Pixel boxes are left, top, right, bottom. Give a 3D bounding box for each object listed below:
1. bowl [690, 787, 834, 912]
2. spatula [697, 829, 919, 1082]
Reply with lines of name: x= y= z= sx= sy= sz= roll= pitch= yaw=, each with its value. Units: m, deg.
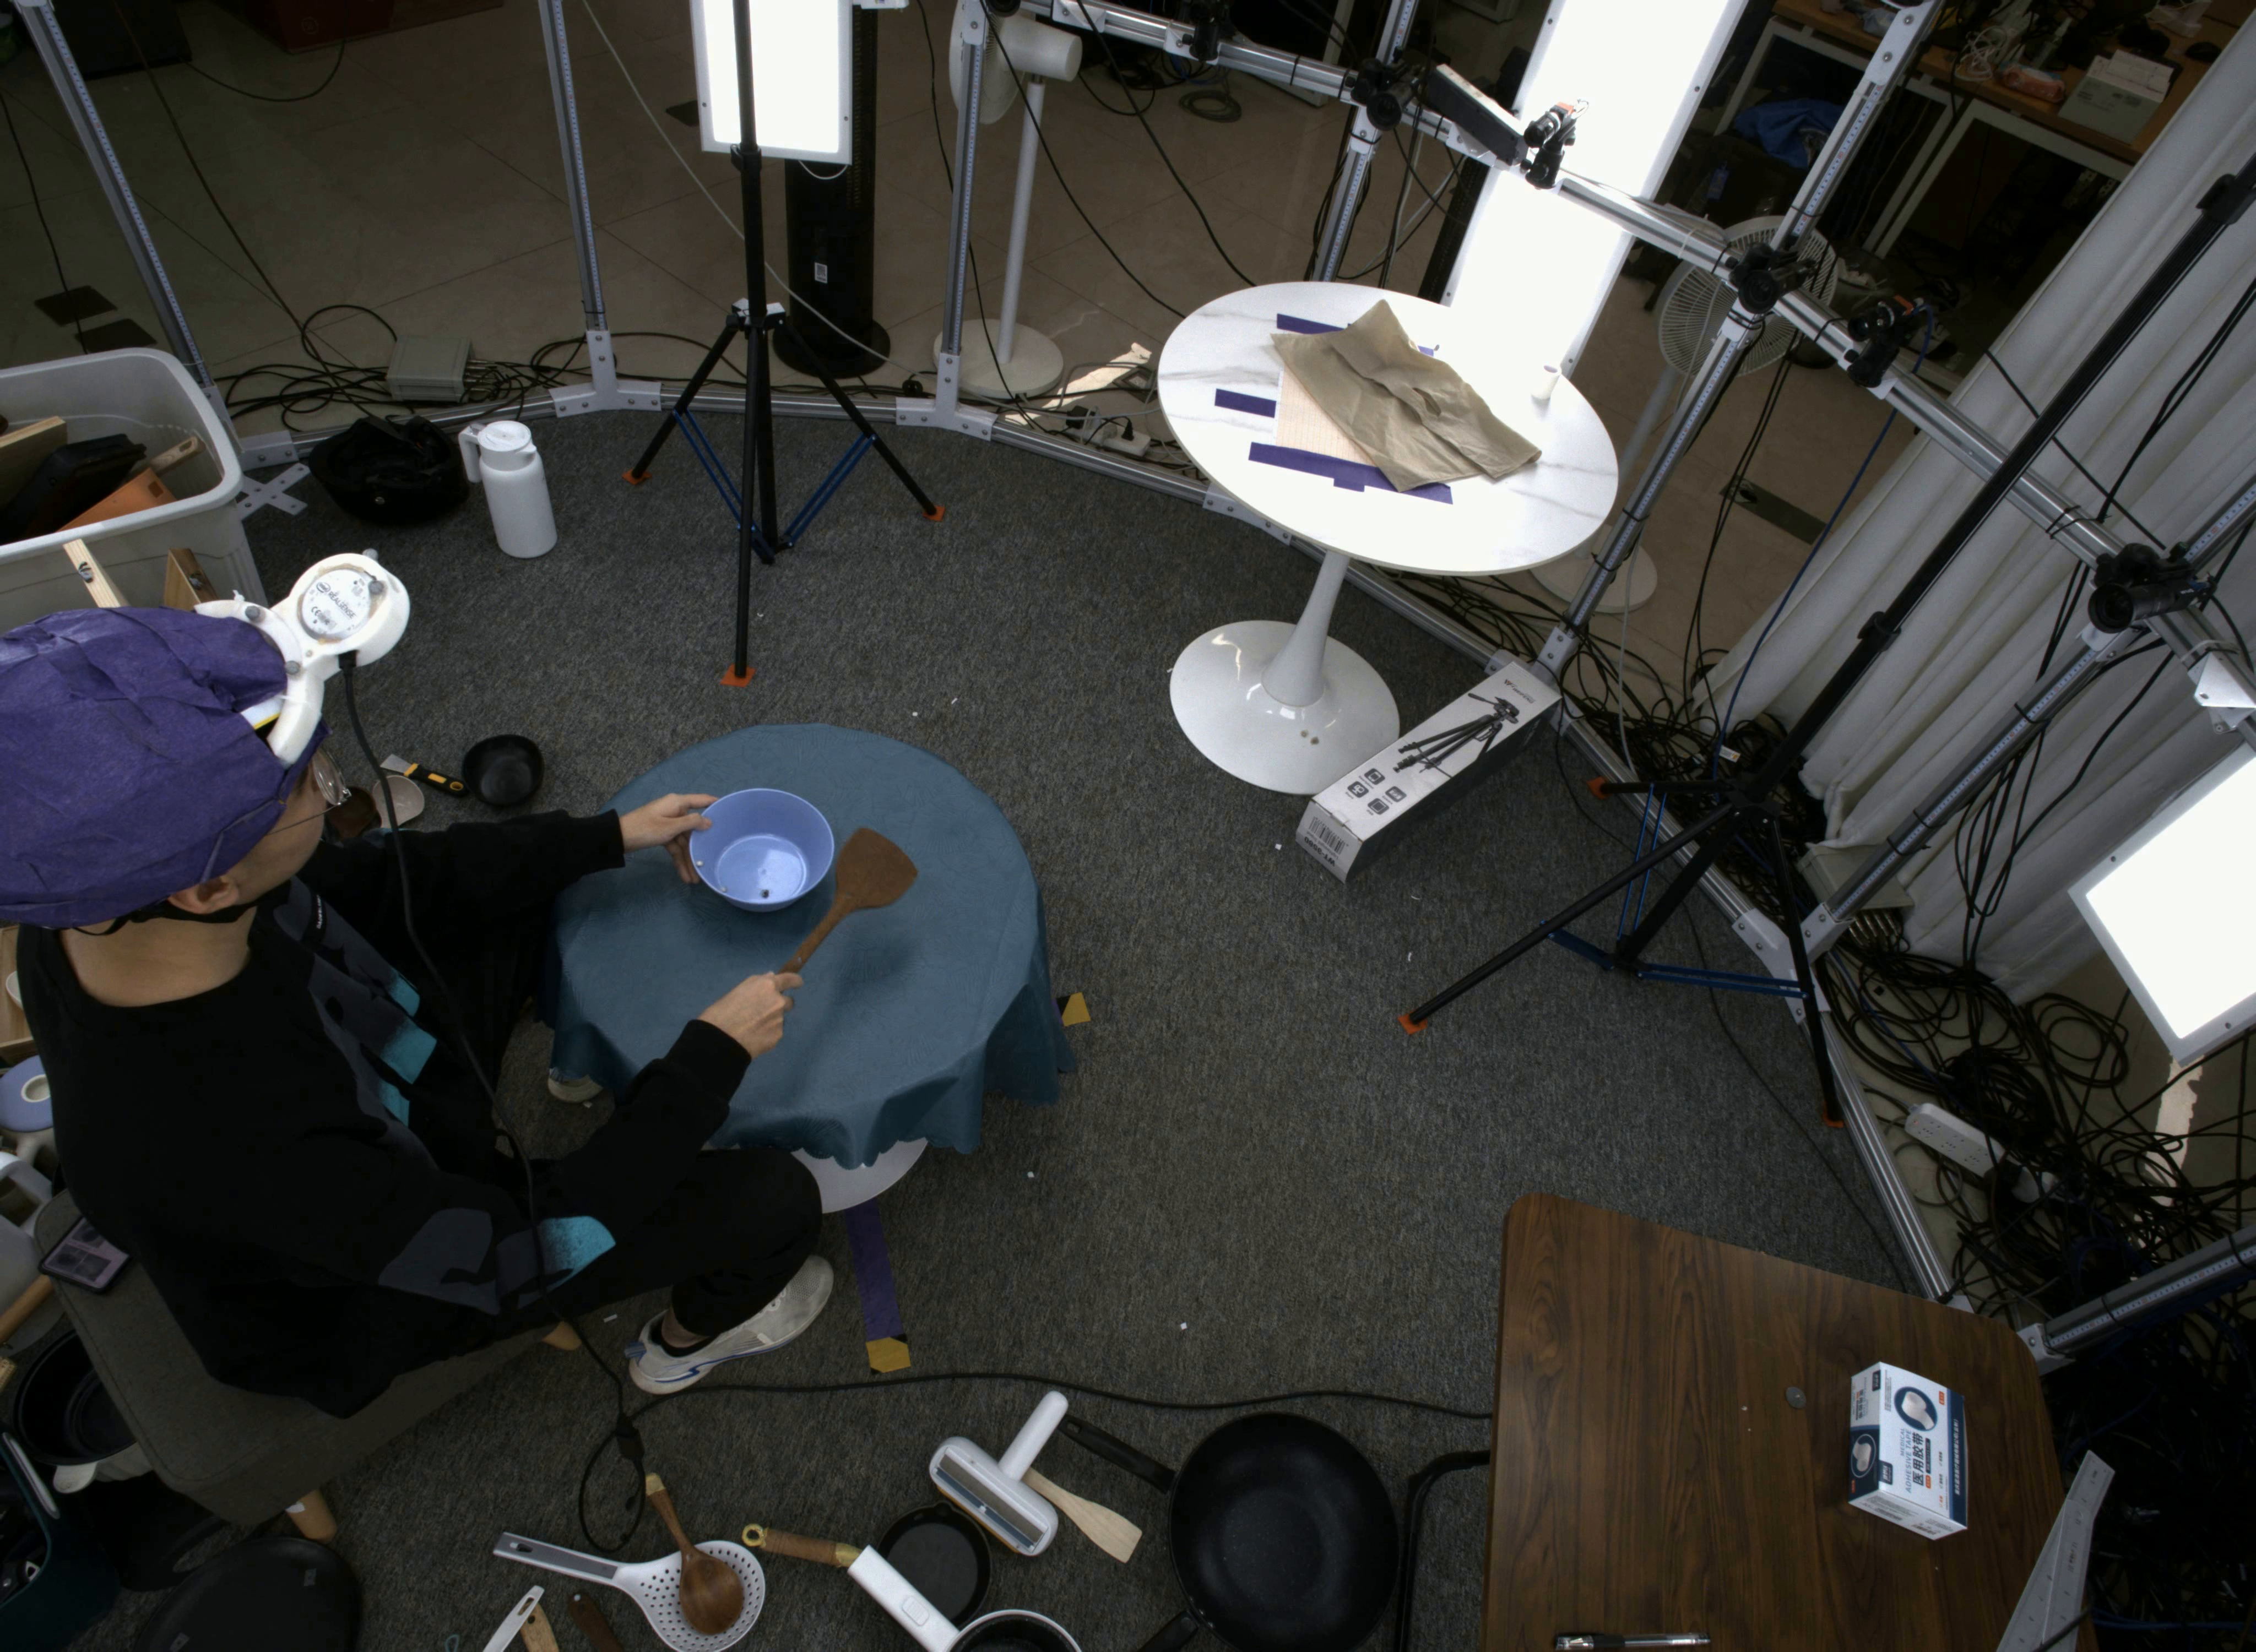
bowl: x=-0.462 y=0.040 z=1.641 sx=0.176 sy=0.071 sz=0.173 roll=8 pitch=54 yaw=-10
spatula: x=-0.367 y=0.143 z=1.479 sx=0.097 sy=0.016 sz=0.384 roll=41 pitch=47 yaw=-8
